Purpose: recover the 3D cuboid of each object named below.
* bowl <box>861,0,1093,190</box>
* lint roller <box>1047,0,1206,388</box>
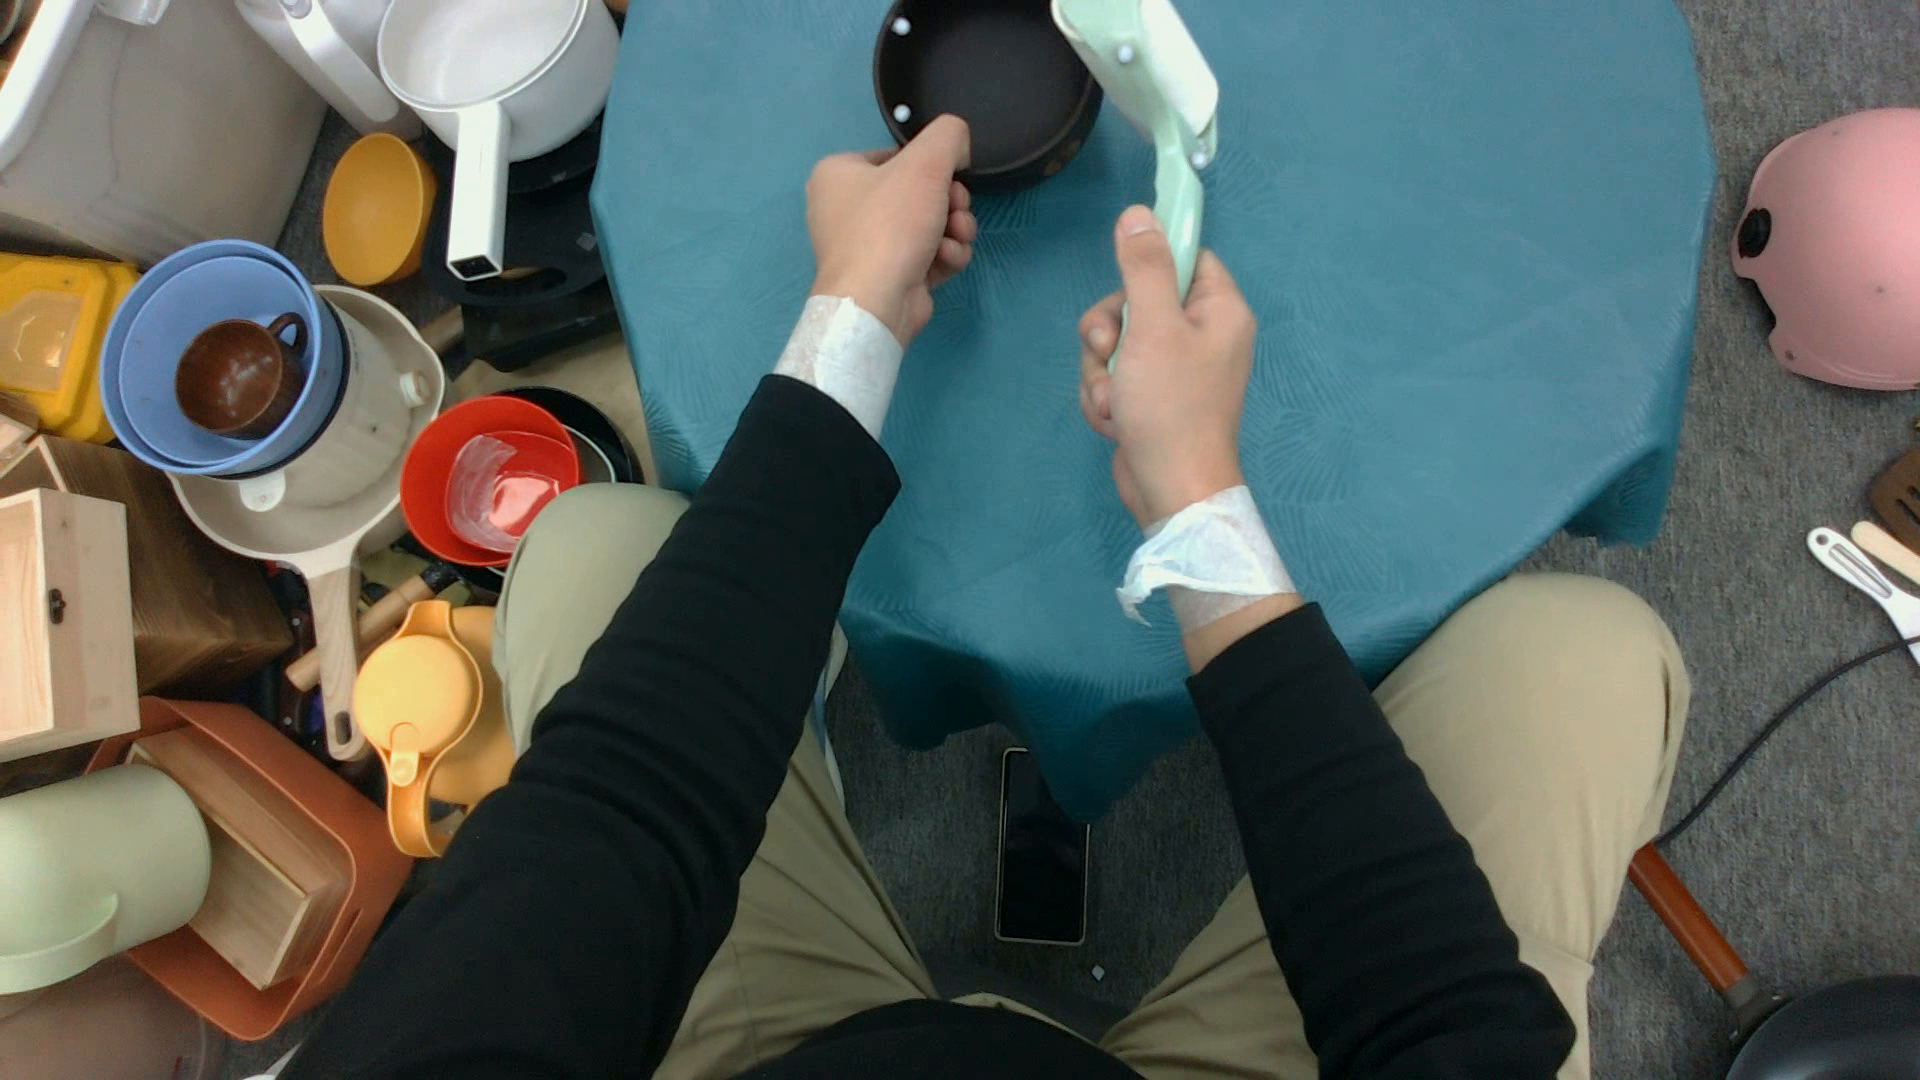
[{"bbox_3d":[0.012,-0.239,0.720,0.118,0.070,0.118,-1,86,8],"label":"bowl"},{"bbox_3d":[0.081,-0.167,0.629,0.048,0.116,0.198,-8,74,25],"label":"lint roller"}]
